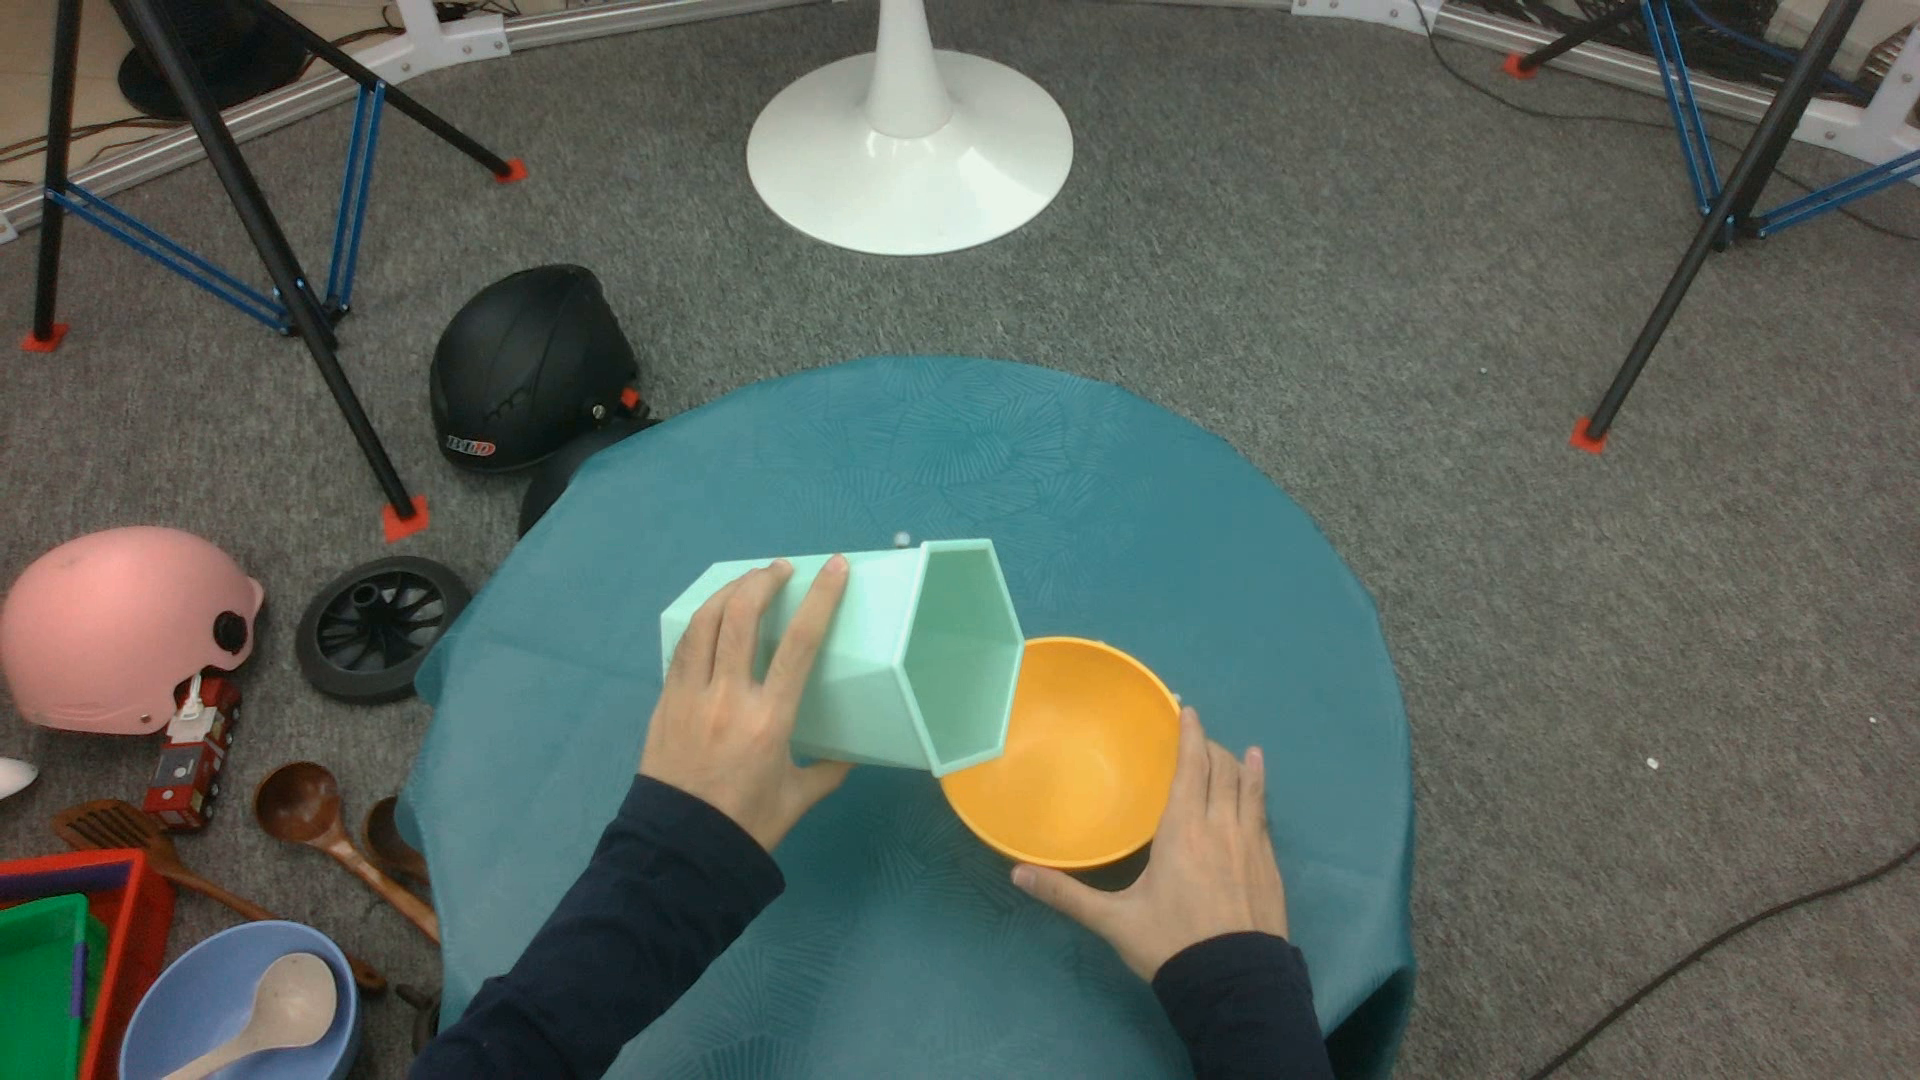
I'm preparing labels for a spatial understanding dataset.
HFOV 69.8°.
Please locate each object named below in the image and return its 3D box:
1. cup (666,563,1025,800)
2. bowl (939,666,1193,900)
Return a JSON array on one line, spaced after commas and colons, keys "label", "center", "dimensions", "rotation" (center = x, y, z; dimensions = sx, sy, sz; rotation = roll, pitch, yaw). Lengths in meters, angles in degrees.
[{"label": "cup", "center": [-0.066, 0.075, 0.743], "dimensions": [0.162, 0.130, 0.116], "rotation": [-4, 30, 31]}, {"label": "bowl", "center": [0.060, 0.150, 0.804], "dimensions": [0.145, 0.060, 0.146], "rotation": [-1, 54, 2]}]
